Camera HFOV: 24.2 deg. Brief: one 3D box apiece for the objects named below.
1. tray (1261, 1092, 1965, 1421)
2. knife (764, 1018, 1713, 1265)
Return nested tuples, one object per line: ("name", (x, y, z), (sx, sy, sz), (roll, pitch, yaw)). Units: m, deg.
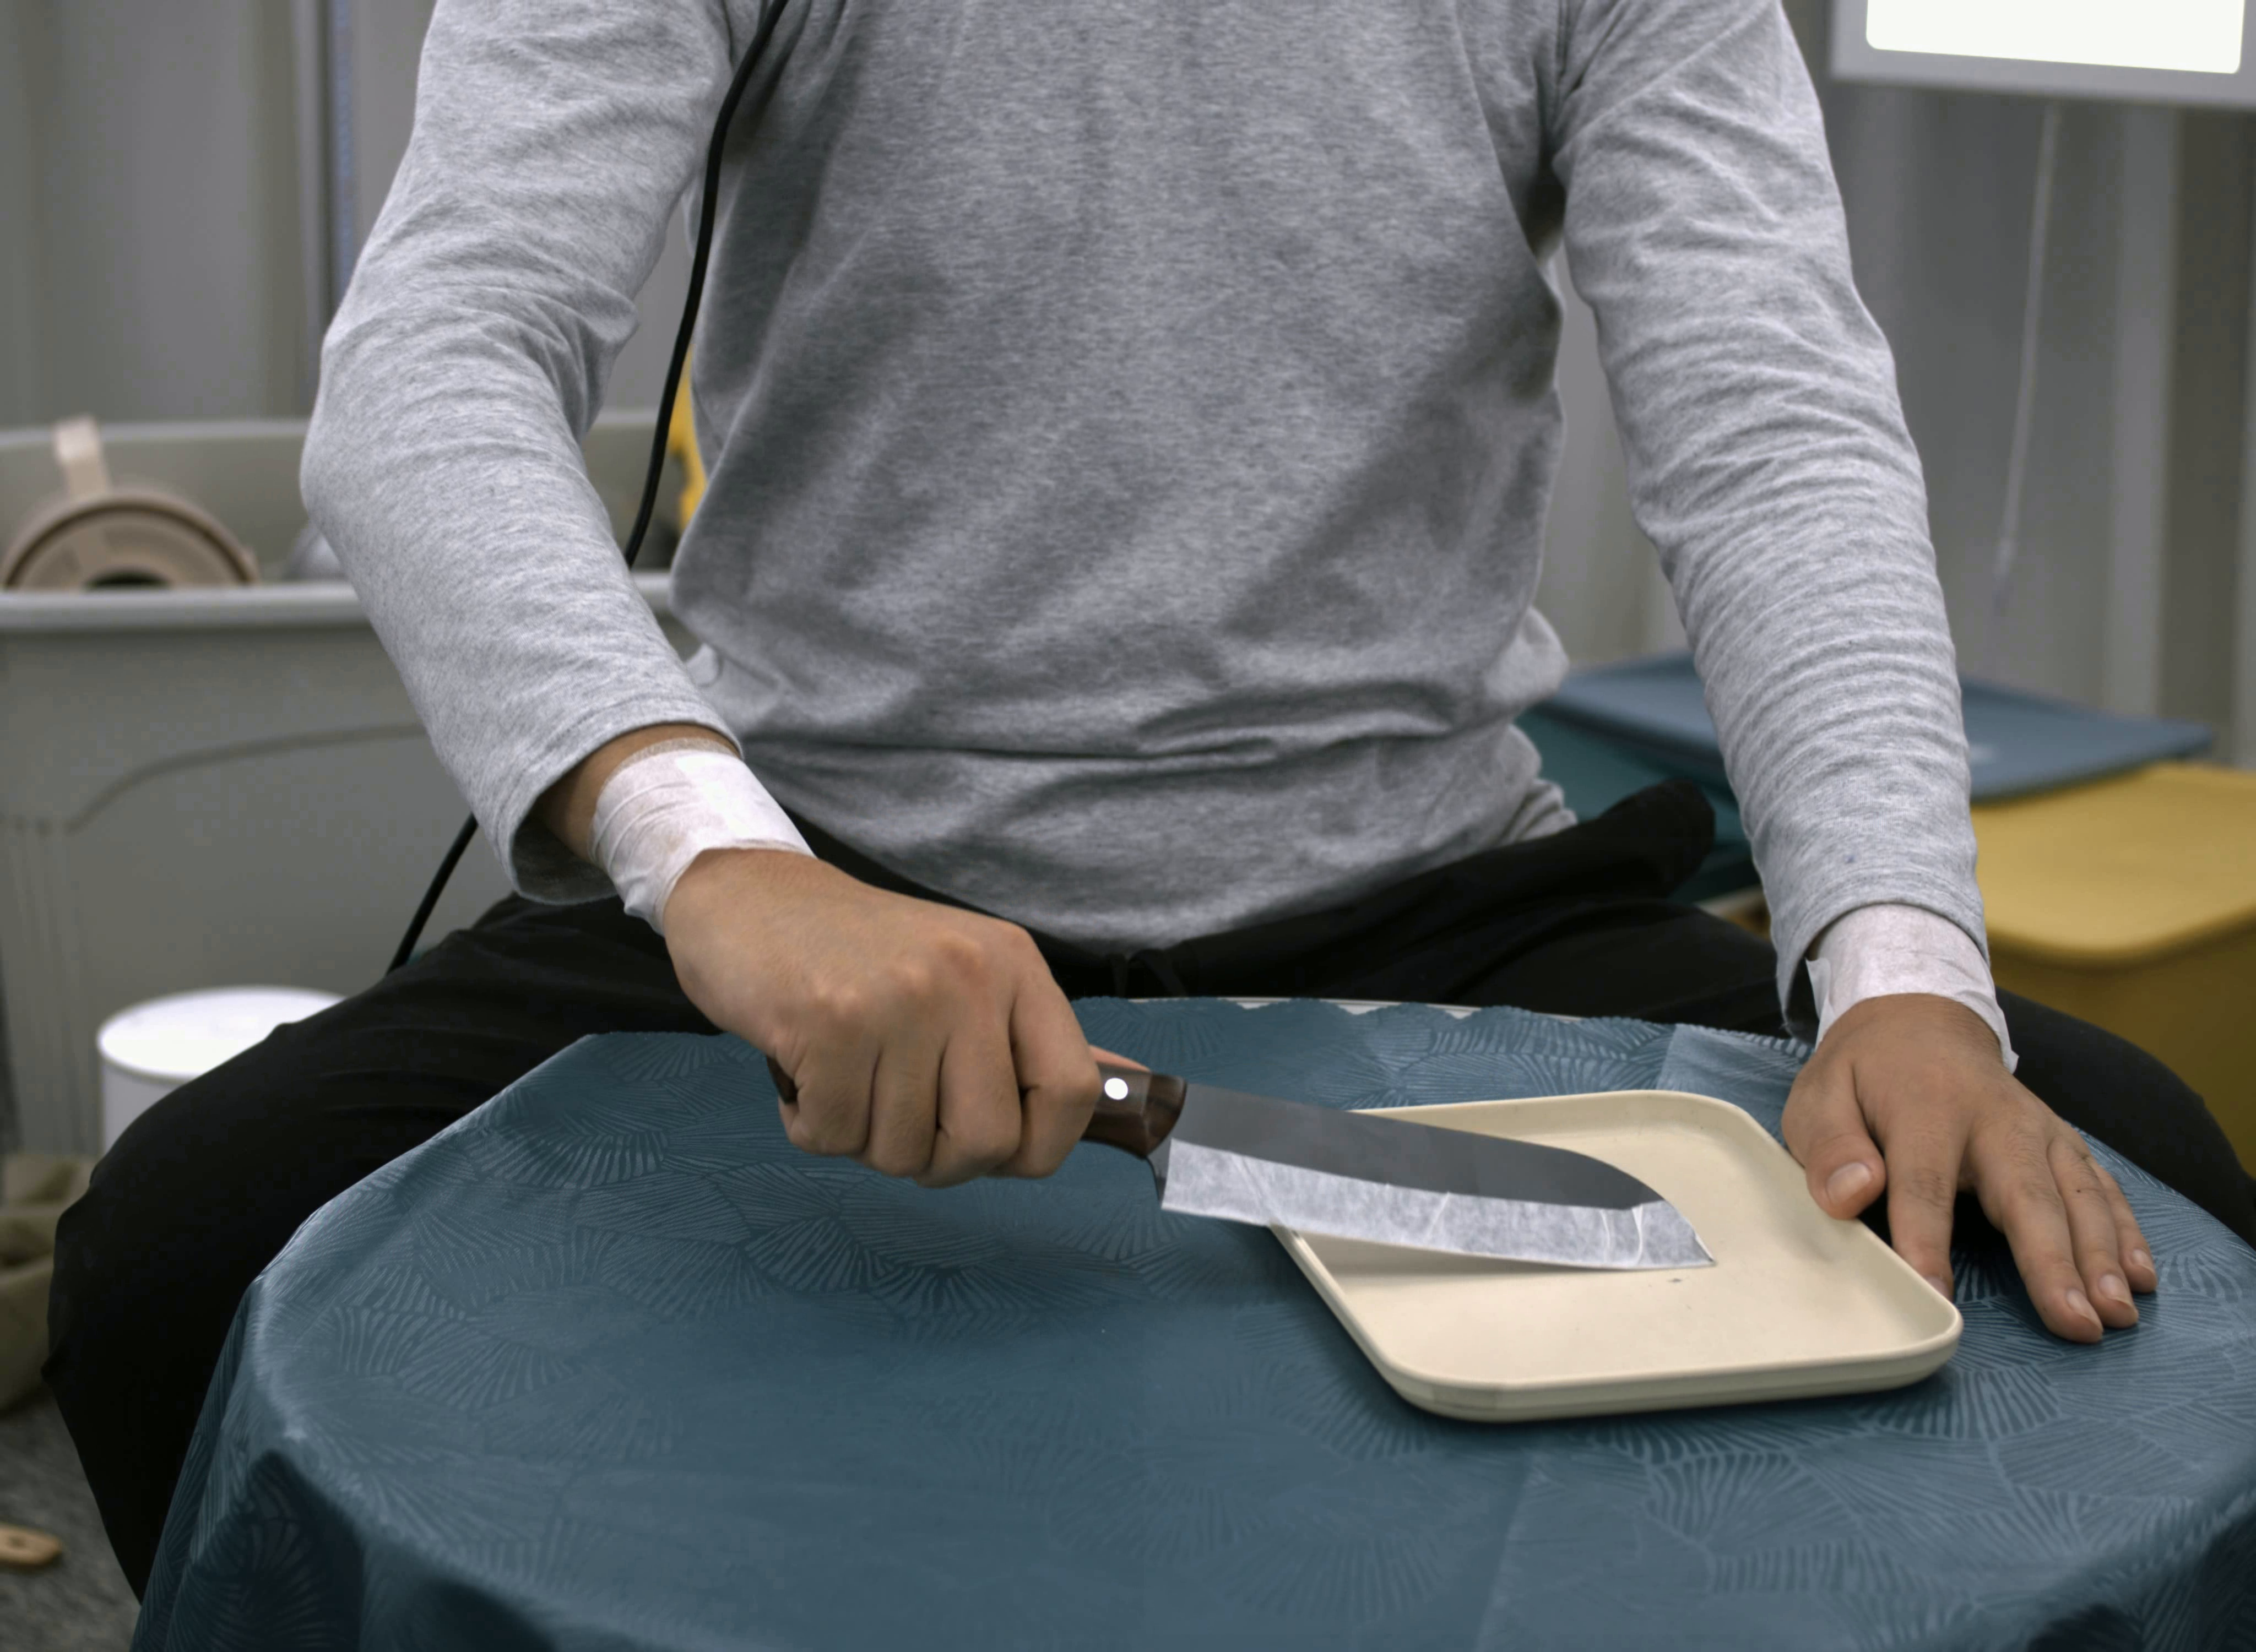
("tray", (0.133, 0.125, 1.551), (0.171, 0.017, 0.237), (-2, 15, -12))
("knife", (0.033, 0.094, 1.550), (0.289, 0.020, 0.050), (12, 57, -5))
